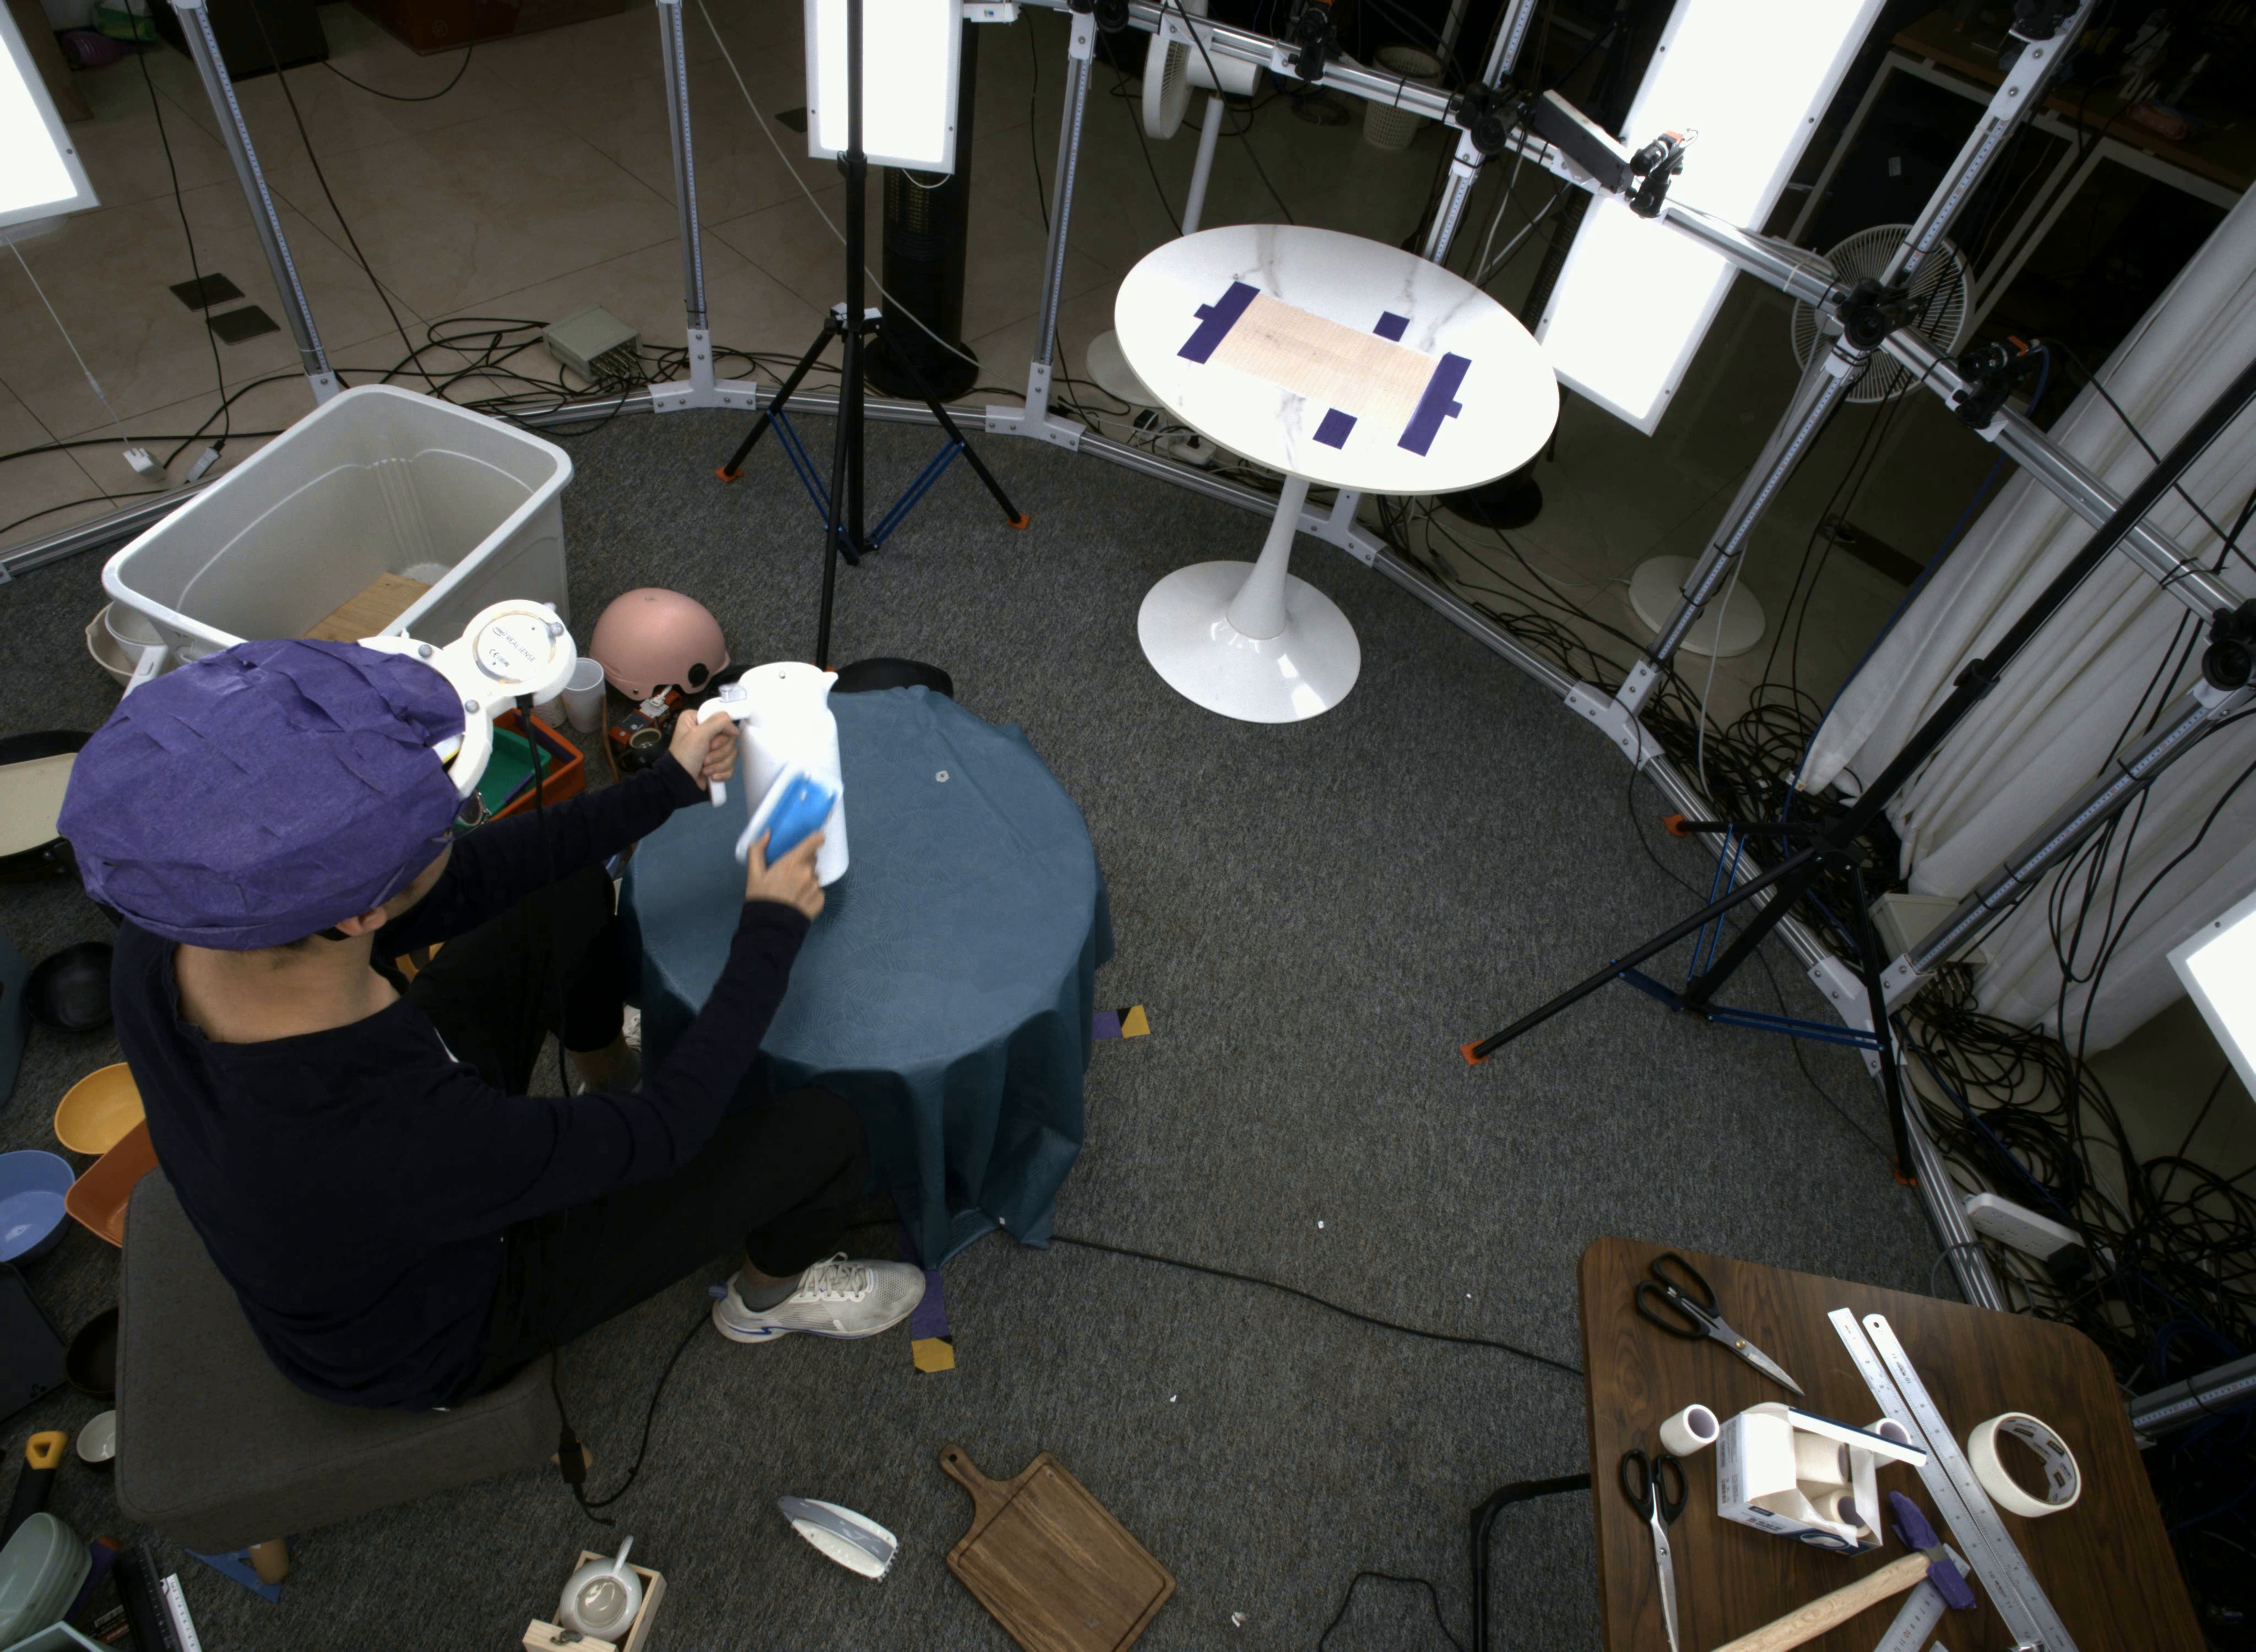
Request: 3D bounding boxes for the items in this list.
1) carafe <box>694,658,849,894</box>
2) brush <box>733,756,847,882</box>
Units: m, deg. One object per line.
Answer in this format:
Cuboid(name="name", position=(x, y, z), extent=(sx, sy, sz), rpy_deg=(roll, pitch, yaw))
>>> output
Cuboid(name="carafe", position=(-0.425, -0.056, 1.570), extent=(0.174, 0.277, 0.119), rpy_deg=(-17, 35, -28))
Cuboid(name="brush", position=(-0.393, -0.005, 1.512), extent=(0.086, 0.144, 0.054), rpy_deg=(32, 5, -30))
